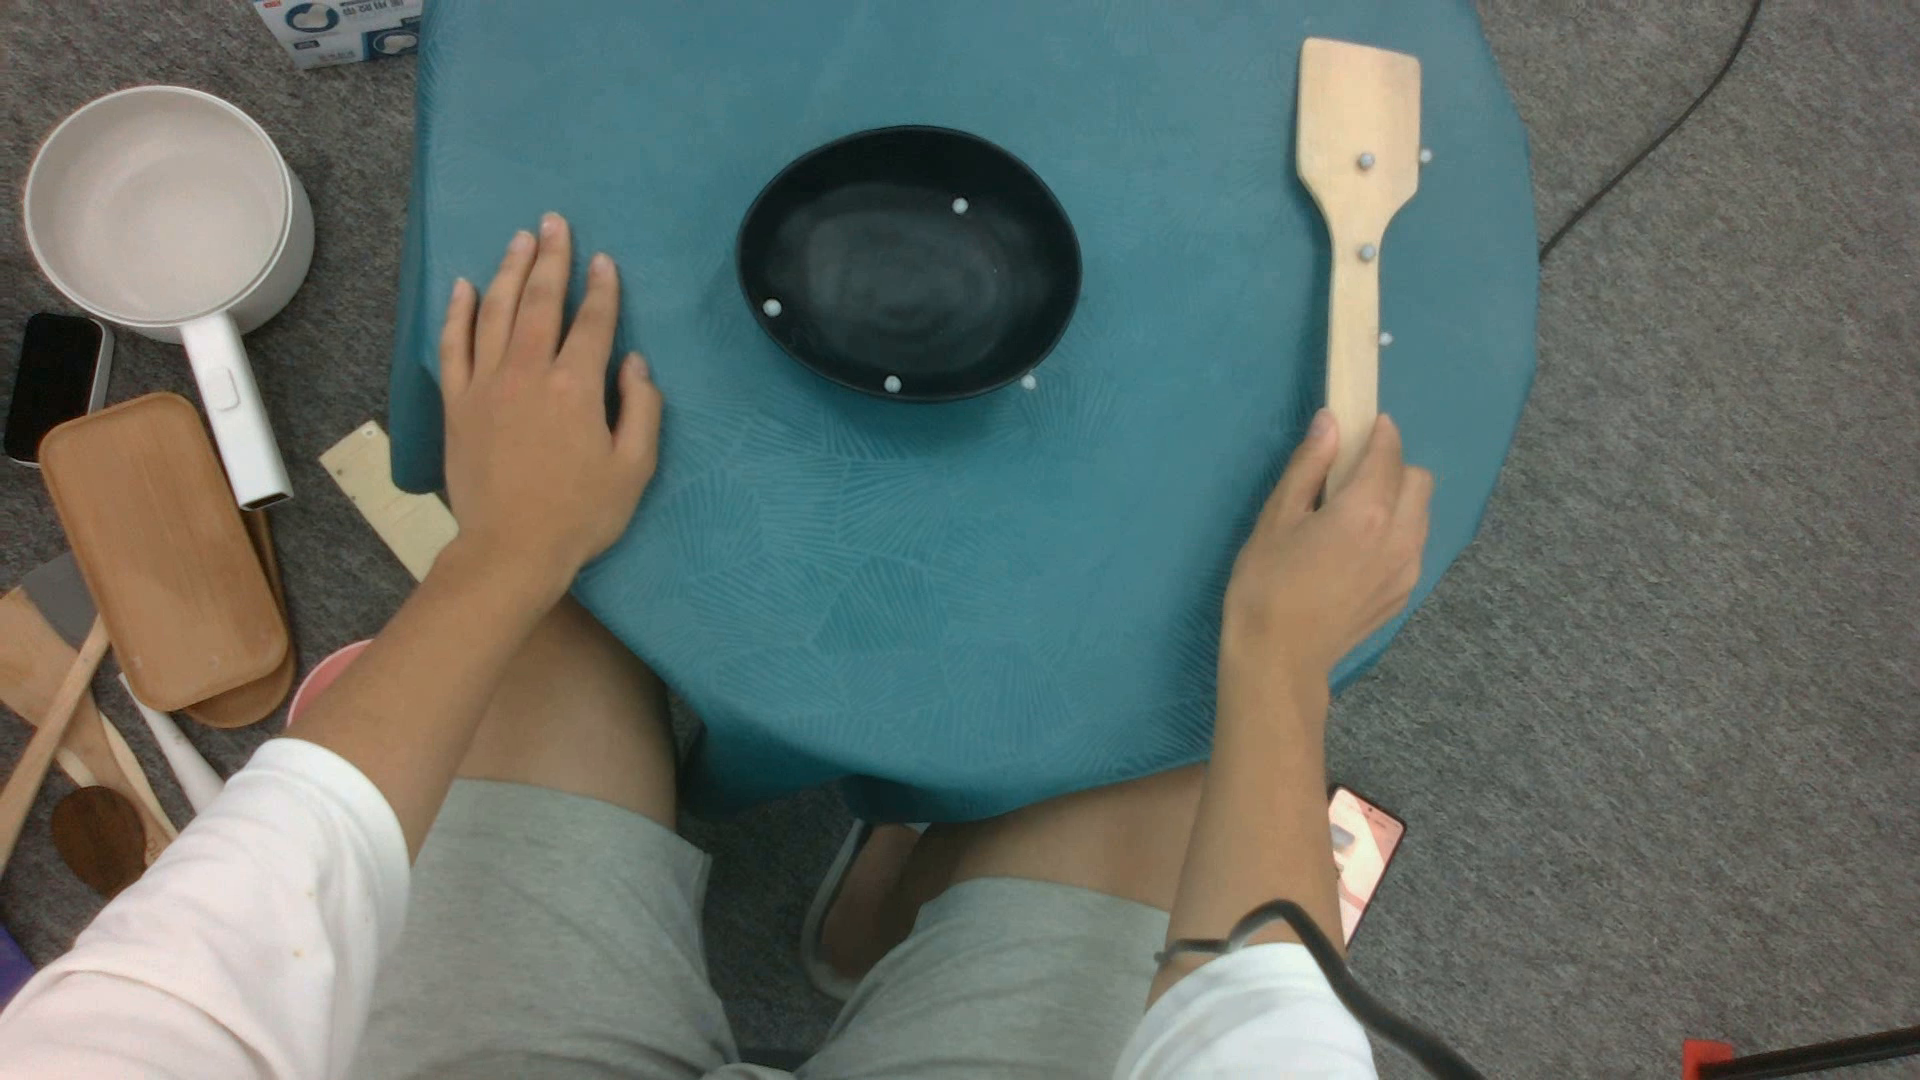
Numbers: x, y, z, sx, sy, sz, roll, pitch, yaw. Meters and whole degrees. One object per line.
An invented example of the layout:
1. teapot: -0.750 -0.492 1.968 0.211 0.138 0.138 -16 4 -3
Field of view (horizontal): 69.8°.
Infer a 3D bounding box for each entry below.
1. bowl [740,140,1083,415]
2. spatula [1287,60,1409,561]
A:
1. bowl: -0.026 -0.126 0.704 0.170 0.066 0.137 0 83 -6
2. spatula: 0.211 -0.129 0.748 0.072 0.010 0.294 7 74 -8
